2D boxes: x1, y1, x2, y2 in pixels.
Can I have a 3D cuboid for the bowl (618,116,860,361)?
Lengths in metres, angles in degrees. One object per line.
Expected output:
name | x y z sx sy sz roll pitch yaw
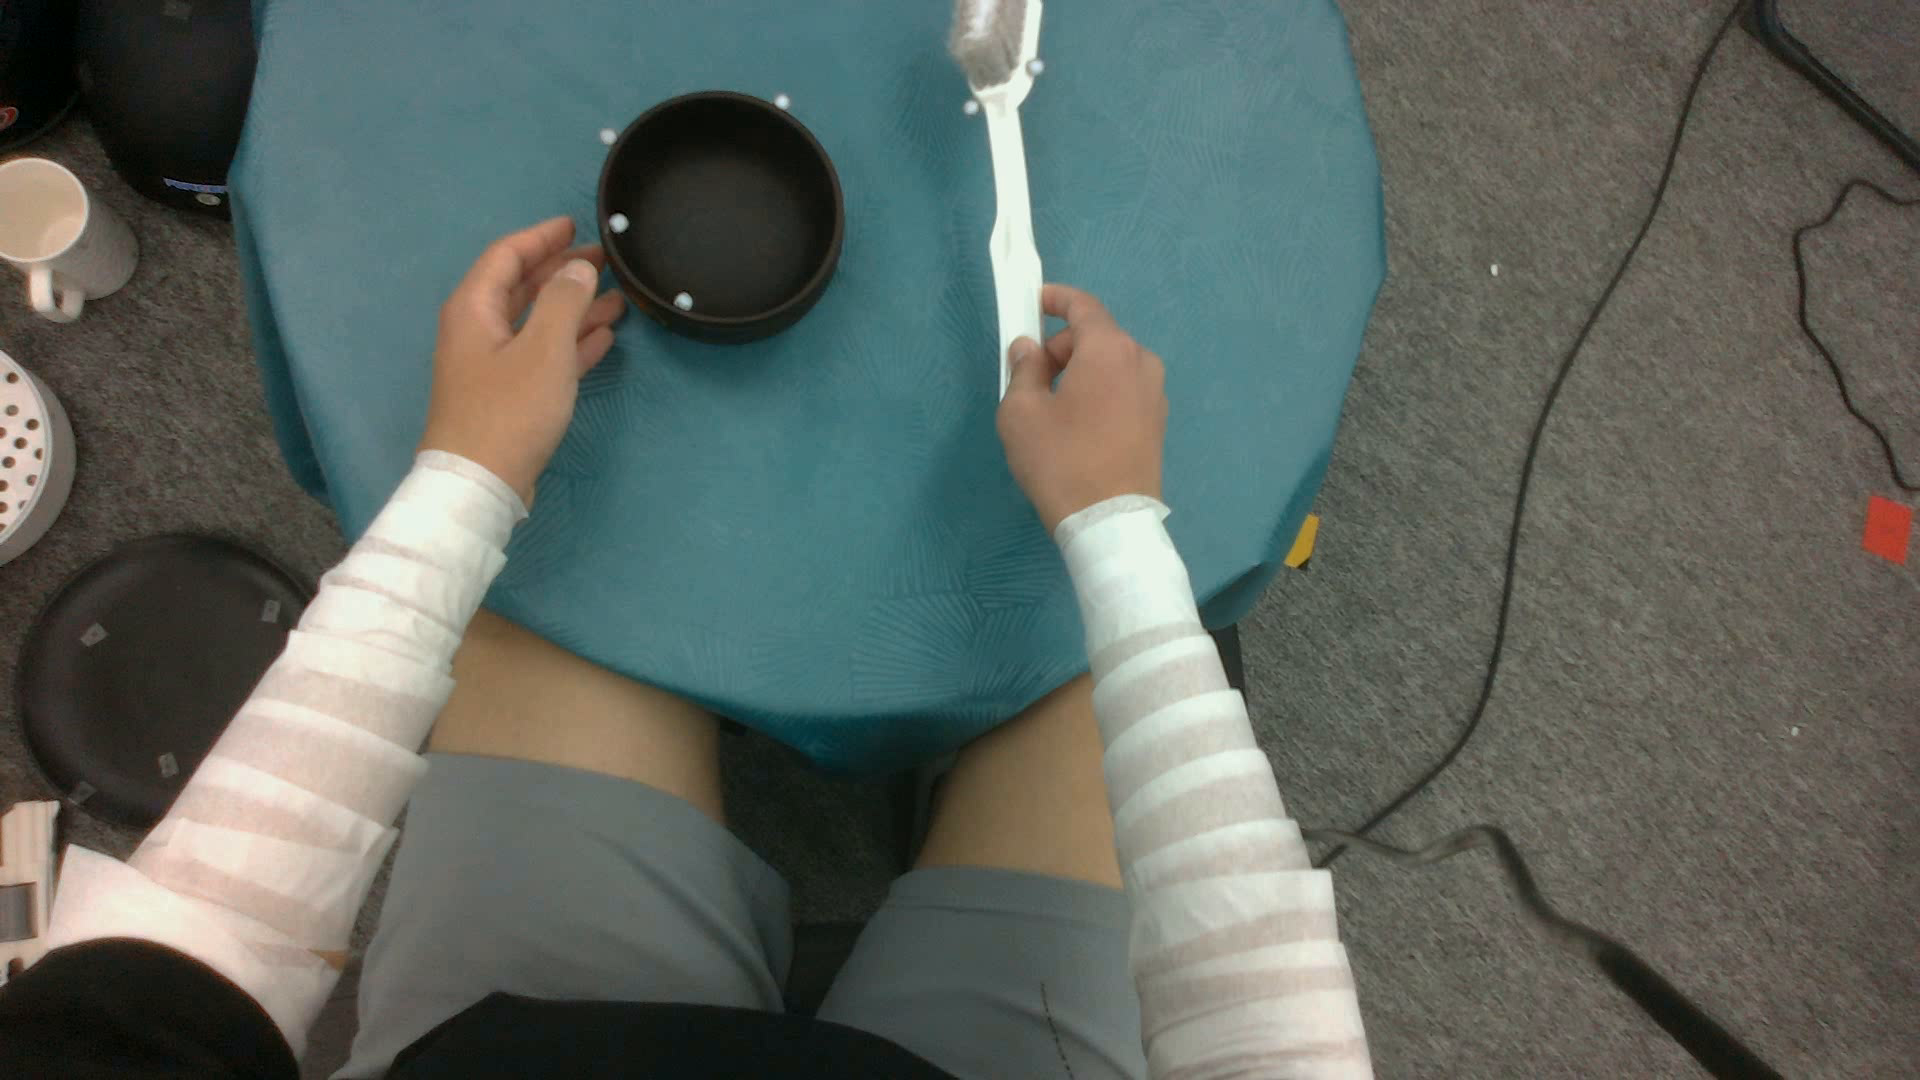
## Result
bowl | -0.111 -0.146 0.698 0.118 0.069 0.118 1 82 -10

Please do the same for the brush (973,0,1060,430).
brush | 0.026 -0.178 0.705 0.034 0.050 0.244 -3 77 24
